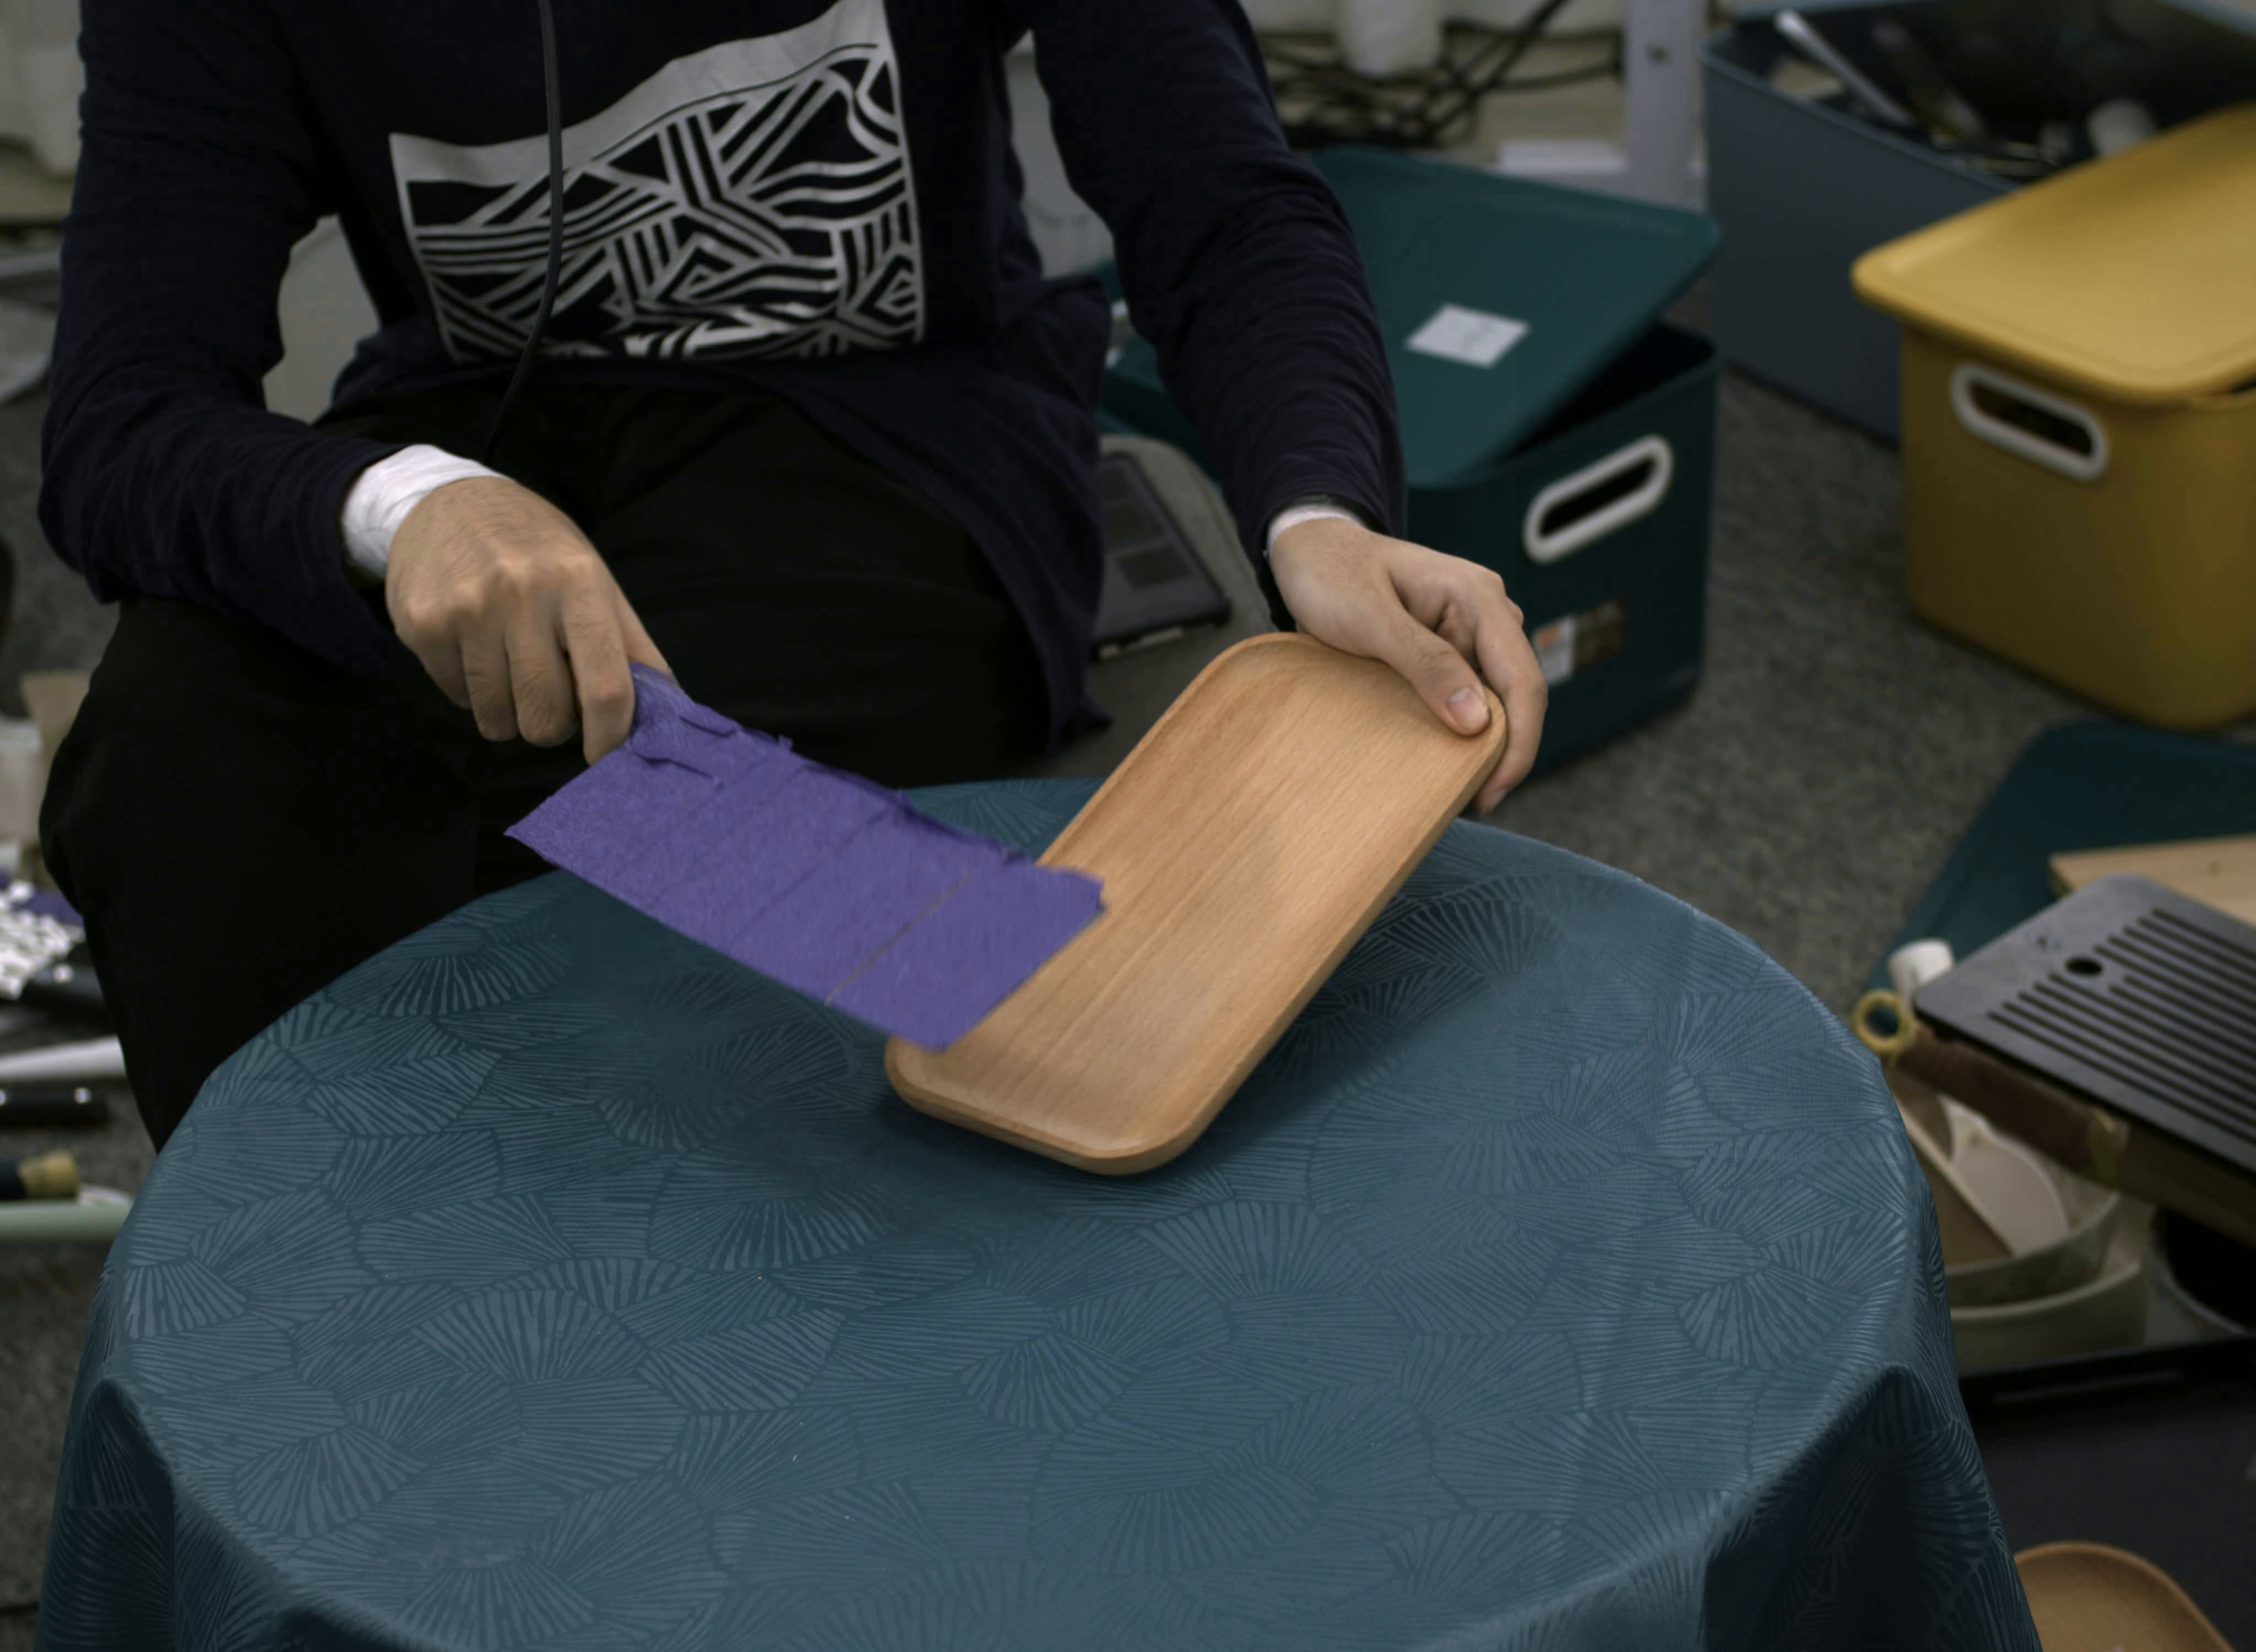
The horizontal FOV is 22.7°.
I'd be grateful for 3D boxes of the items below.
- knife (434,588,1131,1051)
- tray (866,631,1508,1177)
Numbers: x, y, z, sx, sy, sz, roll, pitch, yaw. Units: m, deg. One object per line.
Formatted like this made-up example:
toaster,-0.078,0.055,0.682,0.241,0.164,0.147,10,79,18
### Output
knife,-0.145,-0.005,1.919,0.315,0.032,0.105,24,47,36
tray,0.023,0.025,1.955,0.130,0.022,0.254,17,51,37
